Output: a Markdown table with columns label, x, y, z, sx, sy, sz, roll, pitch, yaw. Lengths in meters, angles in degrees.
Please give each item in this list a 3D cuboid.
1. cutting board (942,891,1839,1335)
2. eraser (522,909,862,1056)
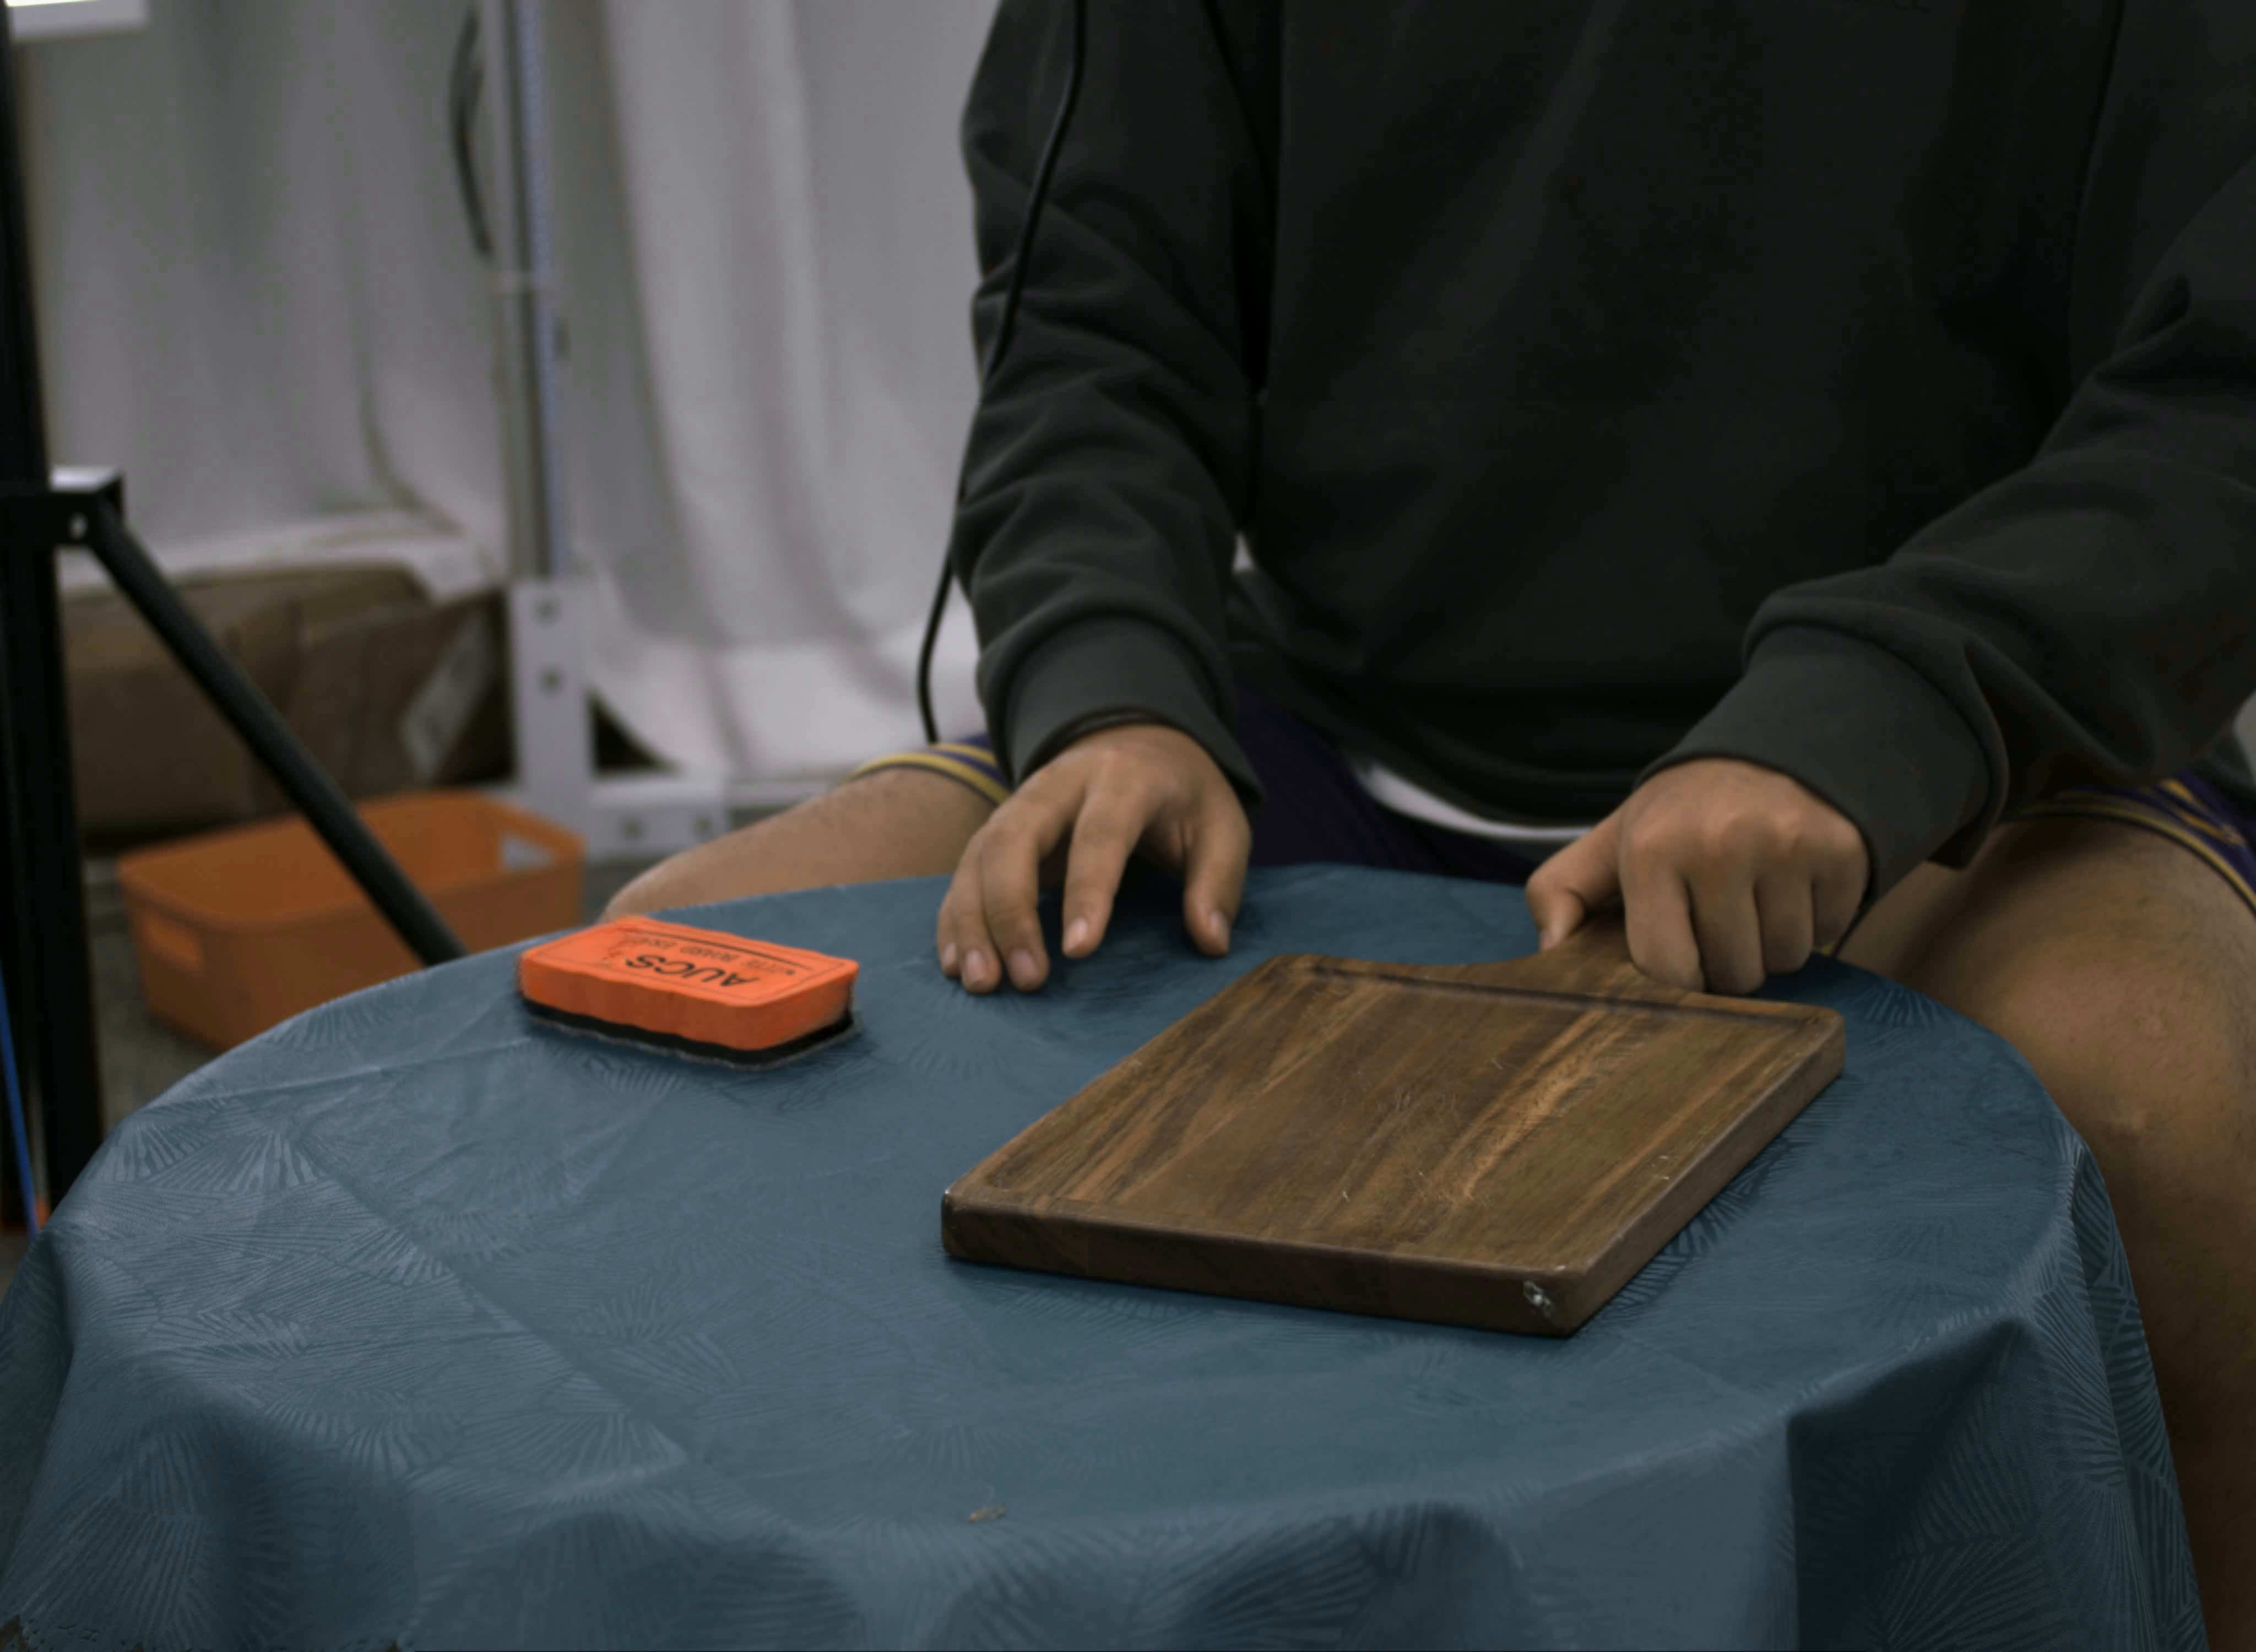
| label | x | y | z | sx | sy | sz | roll | pitch | yaw |
| --- | --- | --- | --- | --- | --- | --- | --- | --- | --- |
| cutting board | 0.103 | 0.077 | 1.614 | 0.204 | 0.023 | 0.347 | 5 | 17 | 25 |
| eraser | -0.142 | 0.050 | 1.732 | 0.110 | 0.023 | 0.058 | 9 | 19 | 38 |
